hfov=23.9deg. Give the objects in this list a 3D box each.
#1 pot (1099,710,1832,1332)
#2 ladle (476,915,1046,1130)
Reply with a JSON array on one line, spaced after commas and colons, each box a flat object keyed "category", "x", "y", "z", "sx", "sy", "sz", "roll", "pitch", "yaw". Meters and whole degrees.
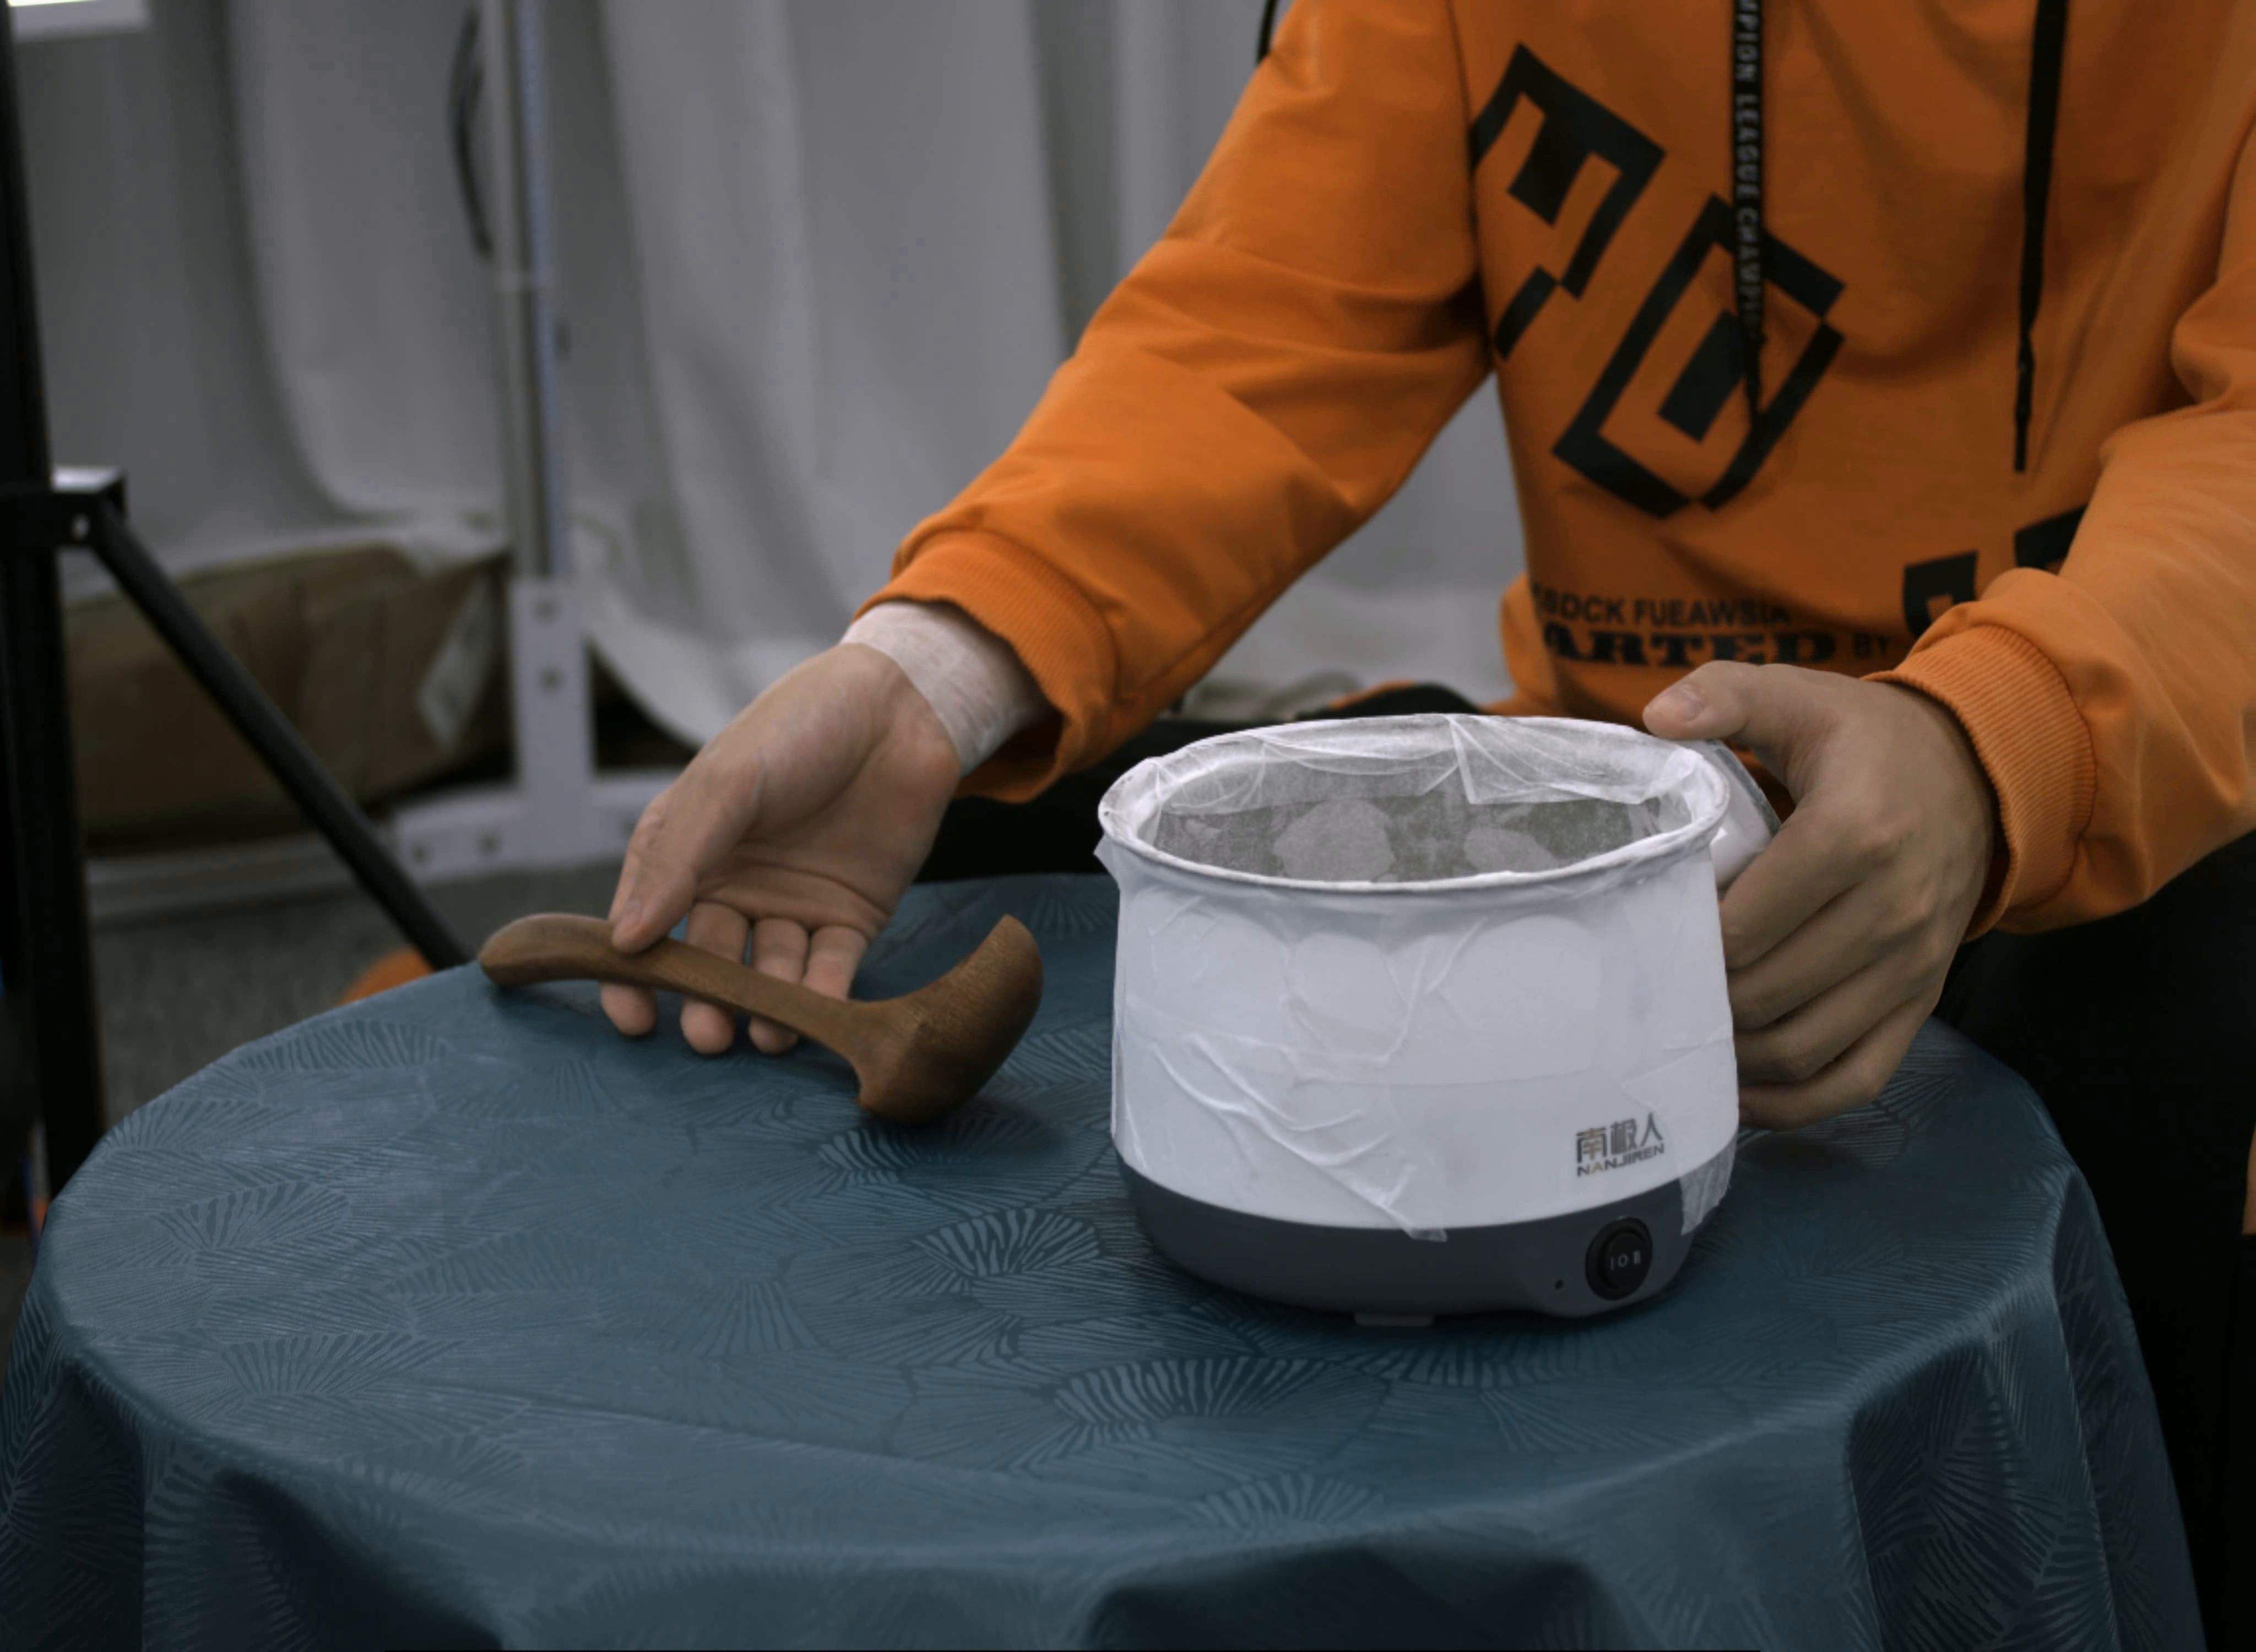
[{"category": "pot", "x": 0.104, "y": 0.048, "z": 1.502, "sx": 0.228, "sy": 0.136, "sz": 0.183, "roll": -13, "pitch": 19, "yaw": -33}, {"category": "ladle", "x": -0.127, "y": 0.045, "z": 1.690, "sx": 0.266, "sy": 0.064, "sz": 0.076, "roll": 13, "pitch": 49, "yaw": 42}]
